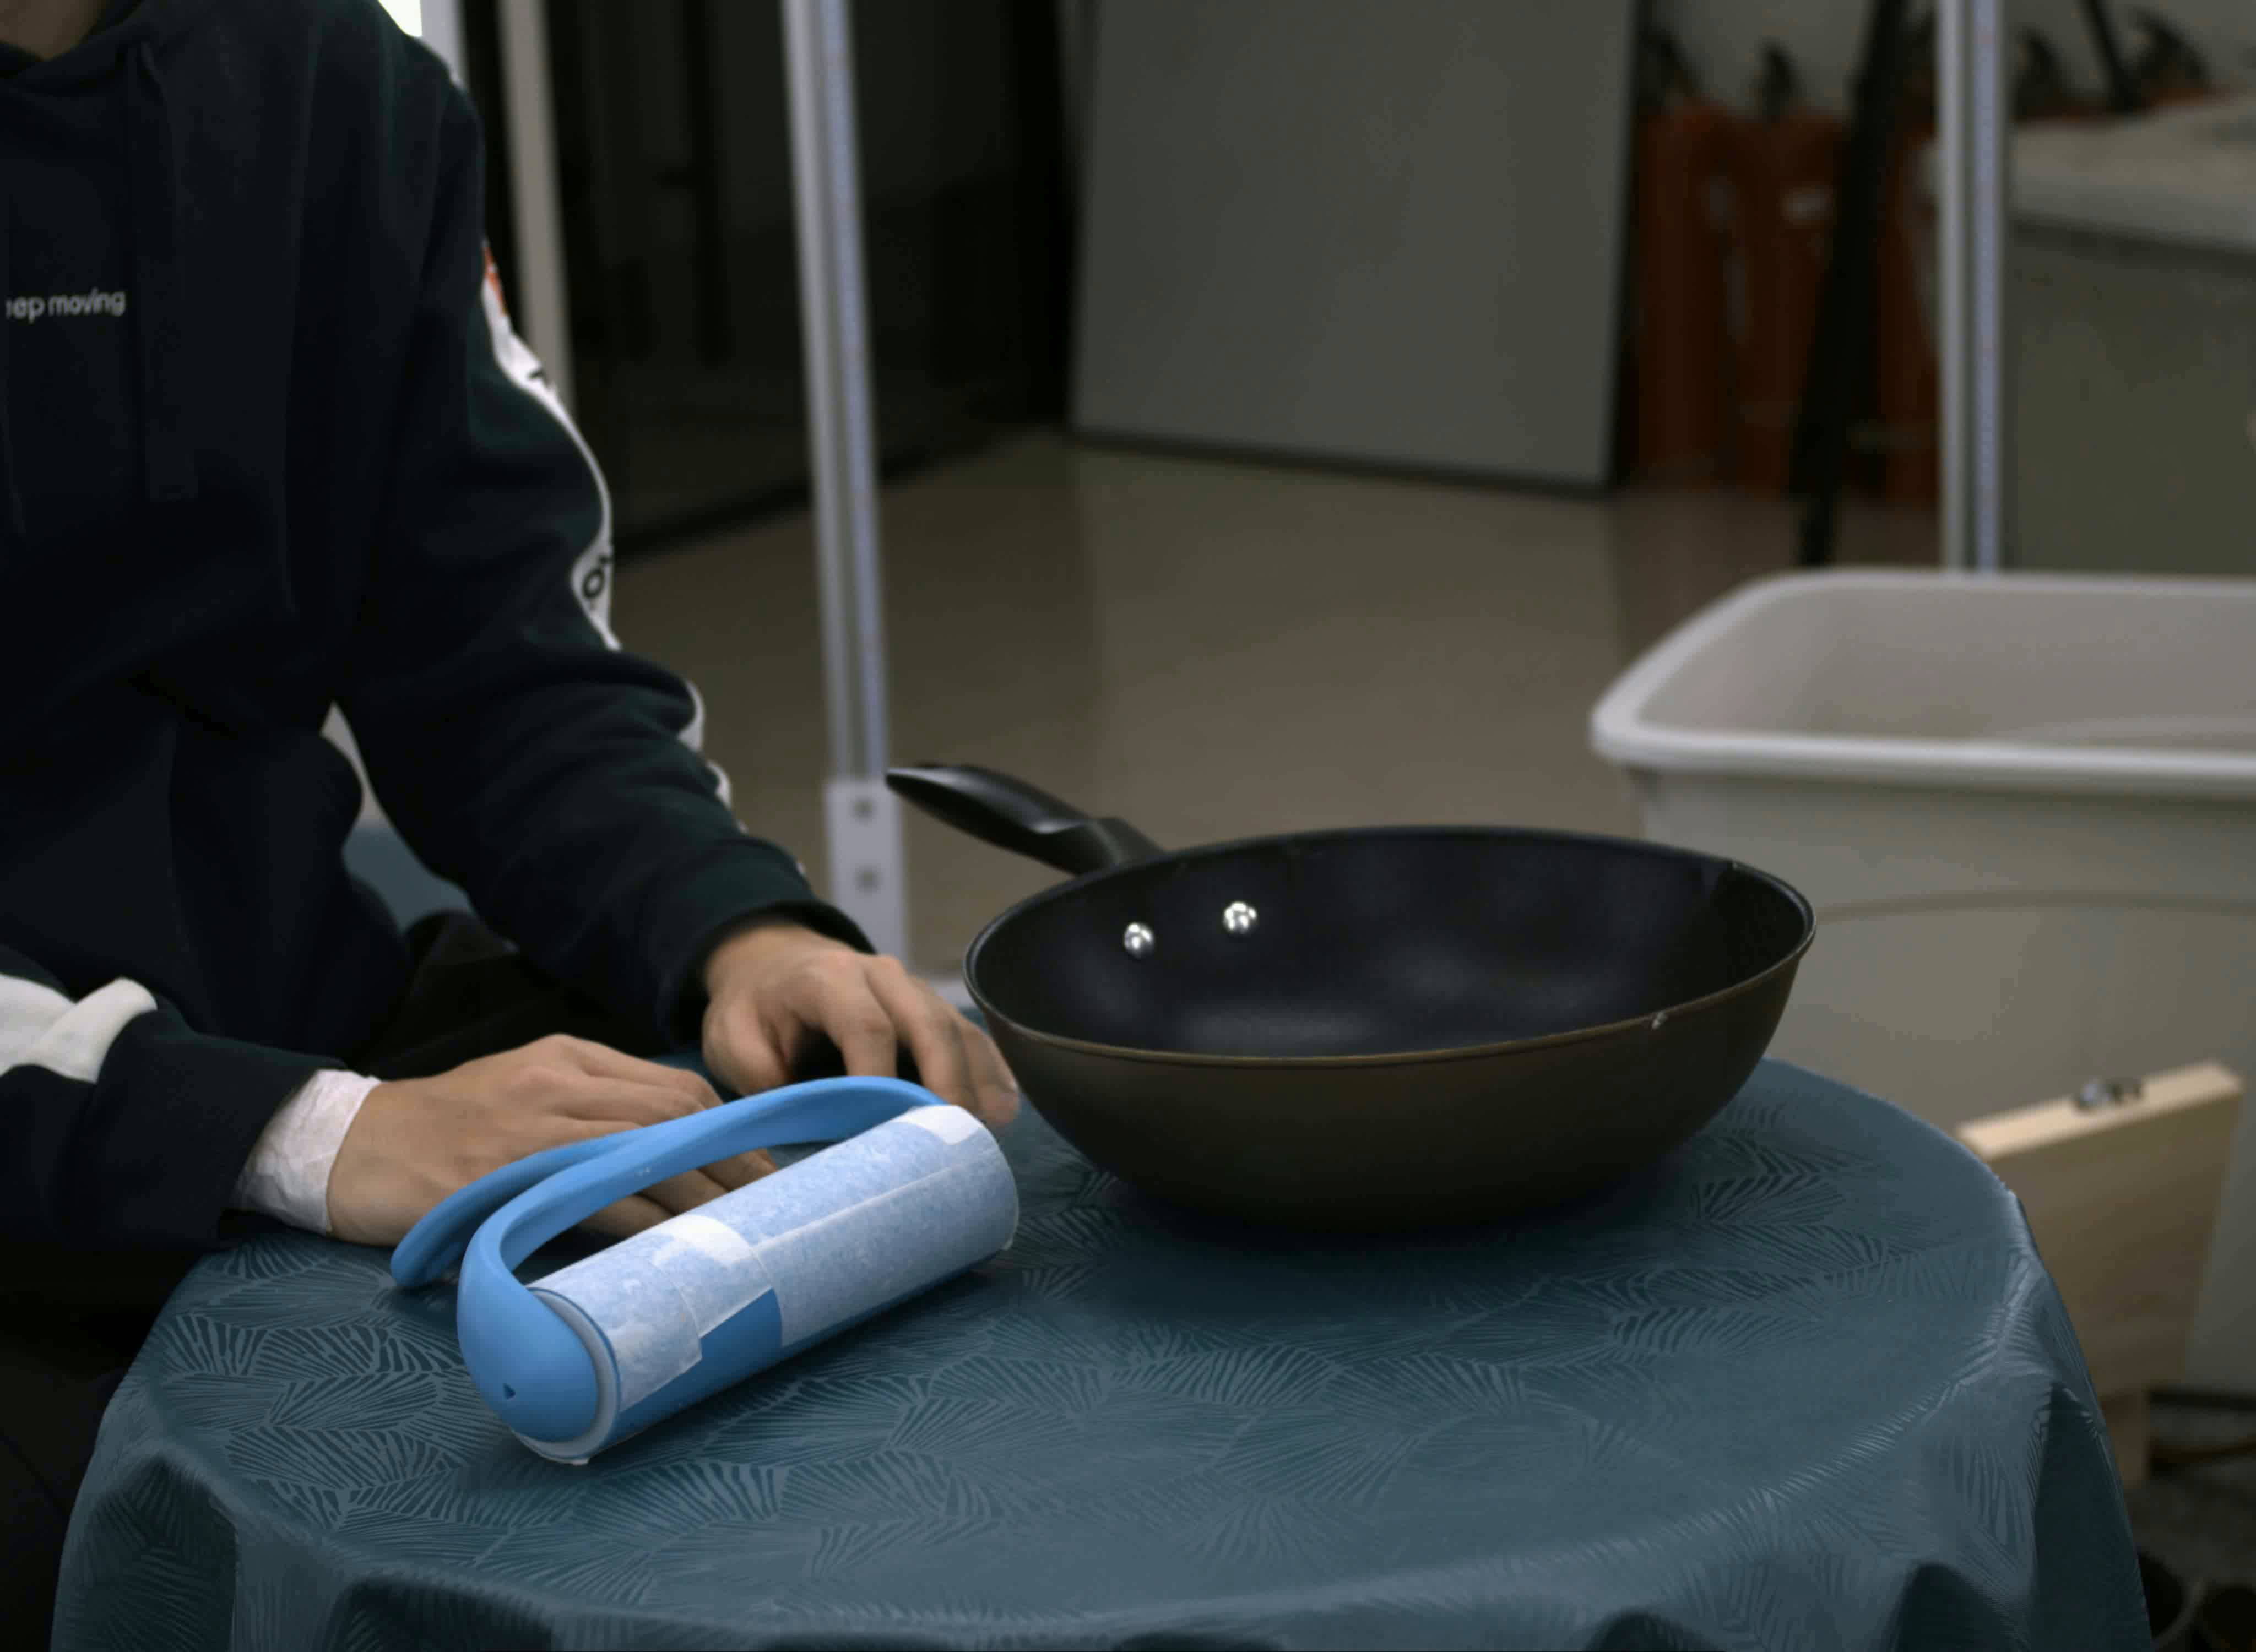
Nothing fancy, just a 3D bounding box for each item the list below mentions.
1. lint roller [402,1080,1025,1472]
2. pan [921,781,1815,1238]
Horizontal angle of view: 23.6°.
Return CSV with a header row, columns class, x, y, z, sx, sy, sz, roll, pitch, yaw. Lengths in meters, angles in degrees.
class,x,y,z,sx,sy,sz,roll,pitch,yaw
lint roller,-0.156,0.131,1.661,0.181,0.068,0.225,6,19,33
pan,0.040,0.058,1.844,0.282,0.088,0.468,-11,15,-28
